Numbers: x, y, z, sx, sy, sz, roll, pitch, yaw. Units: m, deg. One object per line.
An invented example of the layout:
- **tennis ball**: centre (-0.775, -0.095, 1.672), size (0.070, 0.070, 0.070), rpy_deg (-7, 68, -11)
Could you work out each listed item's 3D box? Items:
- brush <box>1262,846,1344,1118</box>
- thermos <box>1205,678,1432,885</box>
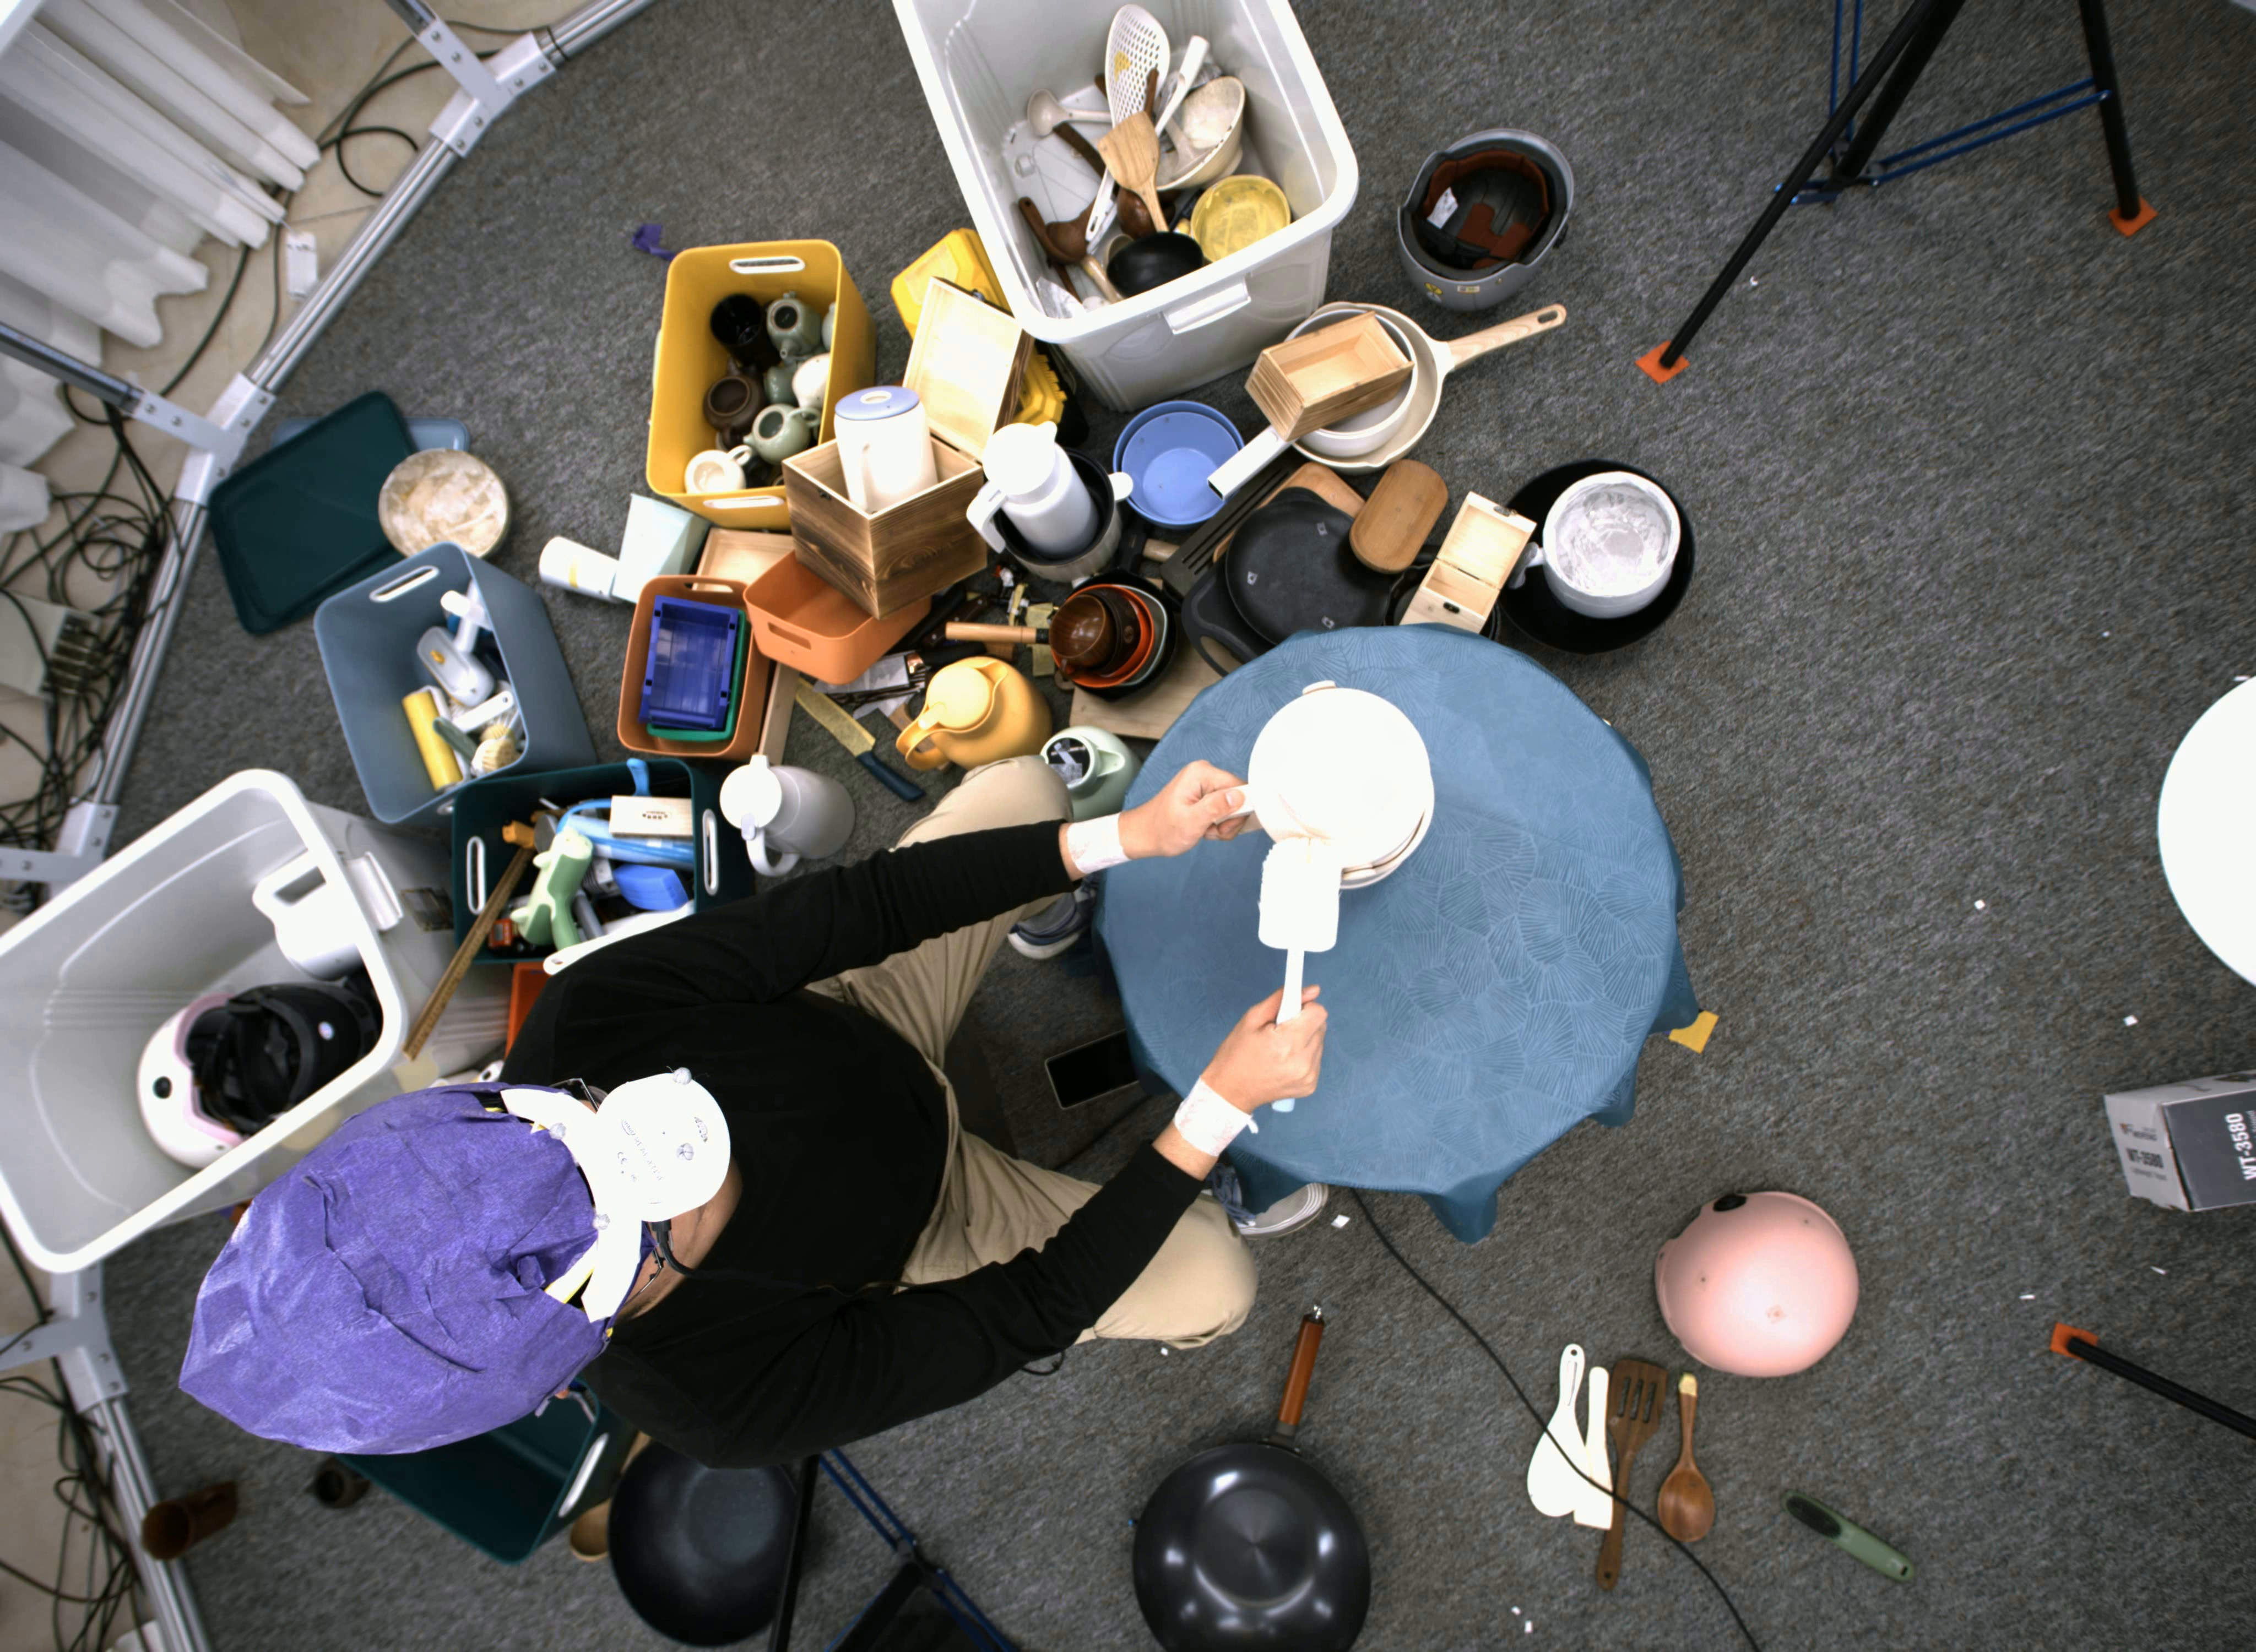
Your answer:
- **brush**: centre (0.148, 0.135, 1.256), size (0.083, 0.334, 0.082), rpy_deg (-31, 51, -28)
- **thermos**: centre (0.181, -0.034, 1.281), size (0.208, 0.406, 0.174), rpy_deg (-13, 84, 8)
